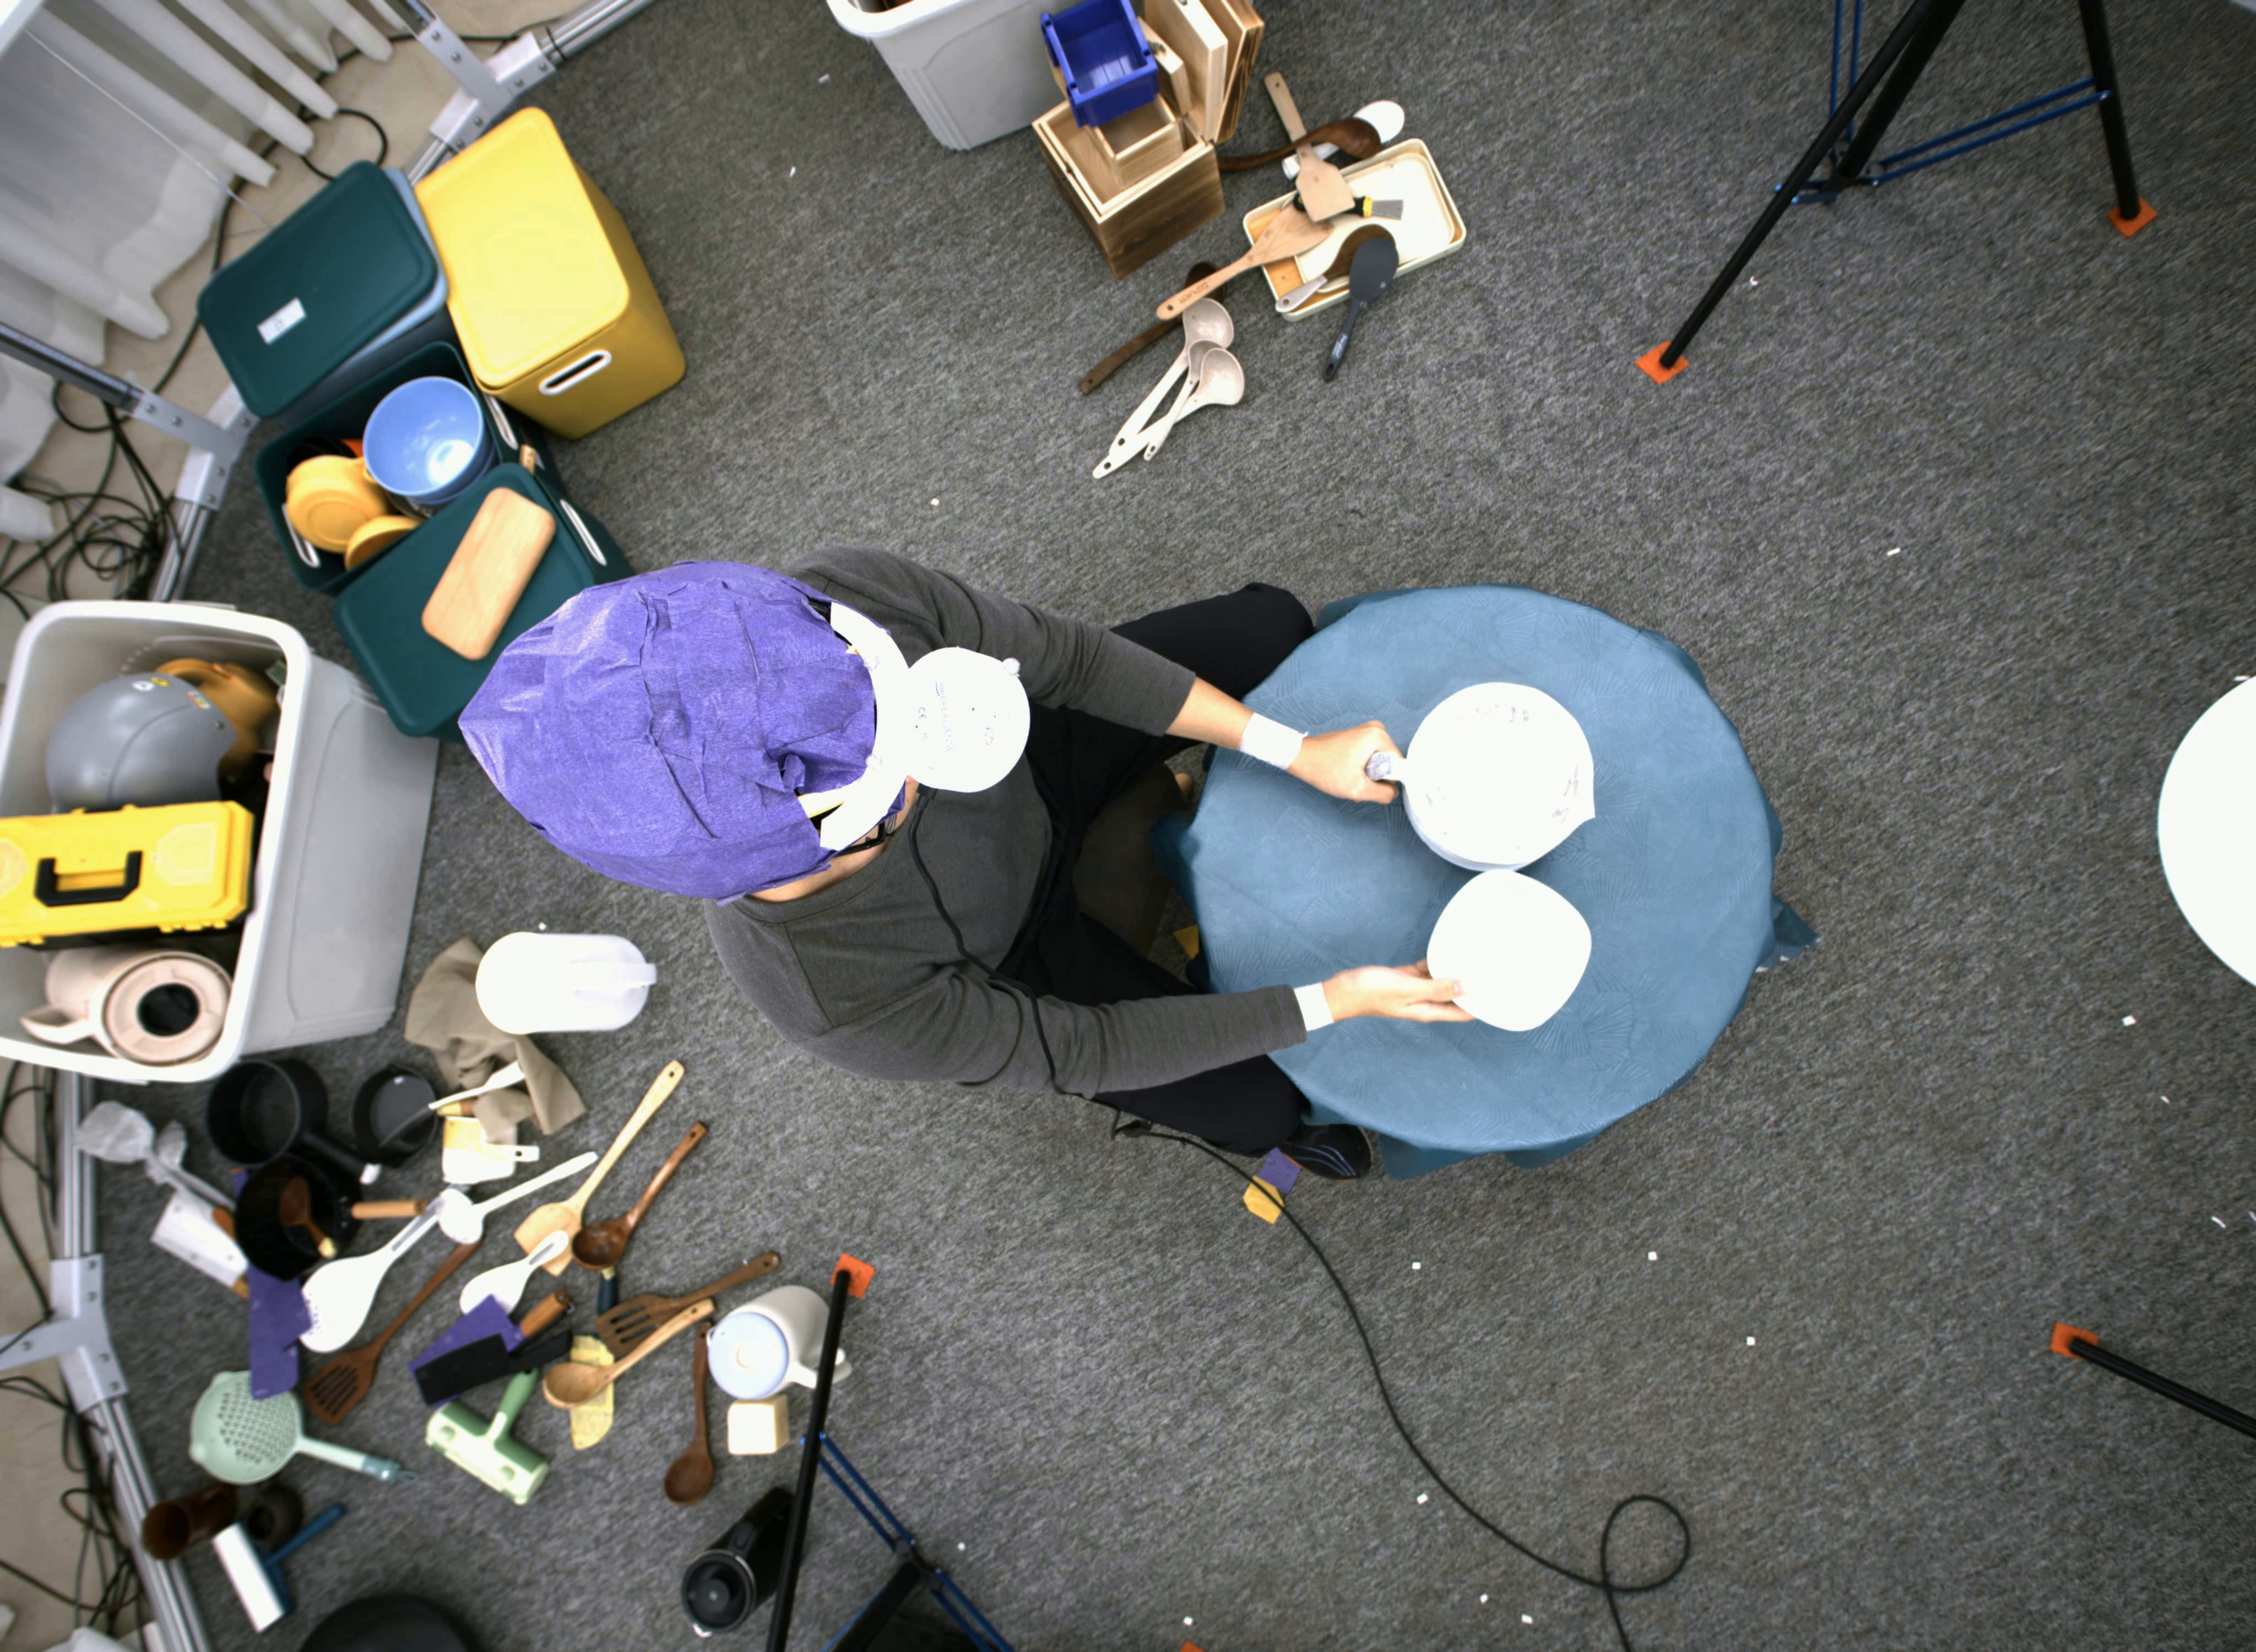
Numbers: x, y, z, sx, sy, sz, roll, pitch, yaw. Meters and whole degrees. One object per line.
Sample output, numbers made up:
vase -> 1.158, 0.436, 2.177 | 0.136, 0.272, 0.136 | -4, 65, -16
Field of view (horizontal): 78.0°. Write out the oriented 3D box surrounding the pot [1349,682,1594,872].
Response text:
pot -> 0.340, -0.049, 1.384 | 0.234, 0.137, 0.178 | 5, 86, 11

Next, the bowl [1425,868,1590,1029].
bowl -> 0.360, 0.113, 1.311 | 0.152, 0.058, 0.151 | 0, 89, 14
